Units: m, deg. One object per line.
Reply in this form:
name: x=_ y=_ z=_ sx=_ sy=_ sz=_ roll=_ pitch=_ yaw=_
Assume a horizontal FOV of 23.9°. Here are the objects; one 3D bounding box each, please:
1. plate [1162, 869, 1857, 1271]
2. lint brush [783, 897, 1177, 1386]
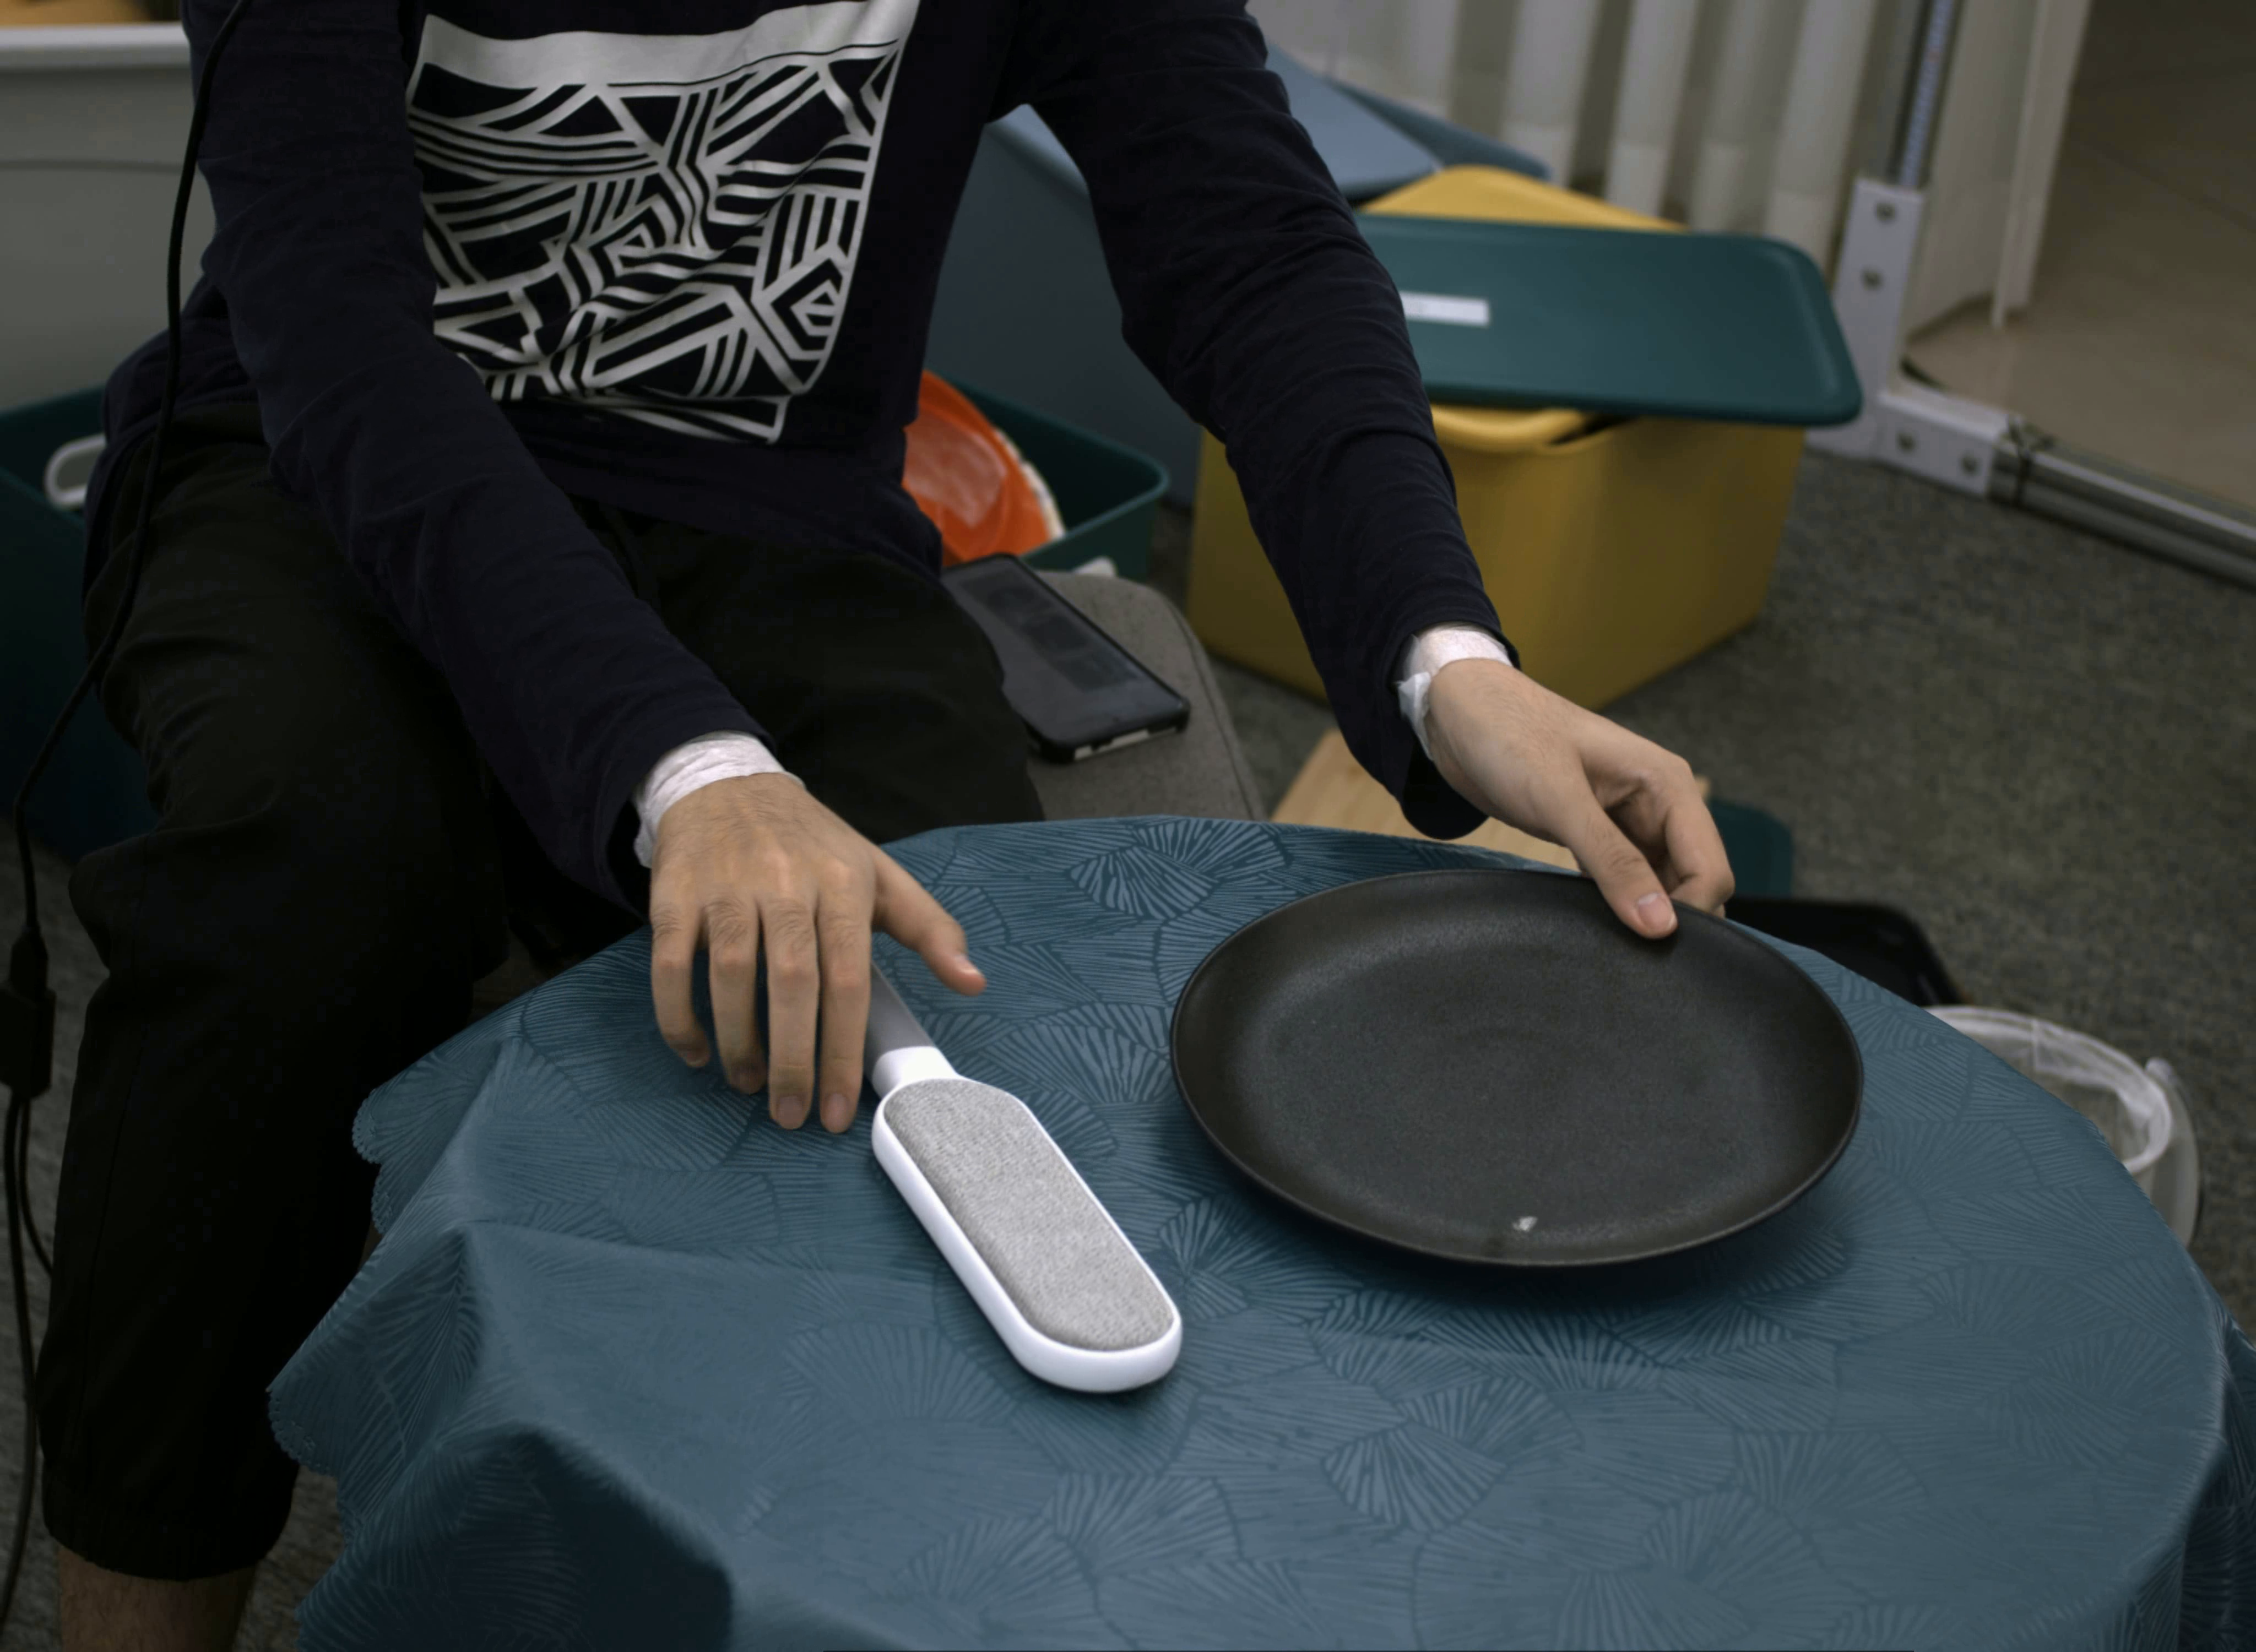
plate: x=0.132 y=0.088 z=1.859 sx=0.243 sy=0.023 sz=0.246 roll=1 pitch=32 yaw=-1
lint brush: x=-0.058 y=0.102 z=1.806 sx=0.060 sy=0.021 sz=0.312 roll=-10 pitch=31 yaw=-19
